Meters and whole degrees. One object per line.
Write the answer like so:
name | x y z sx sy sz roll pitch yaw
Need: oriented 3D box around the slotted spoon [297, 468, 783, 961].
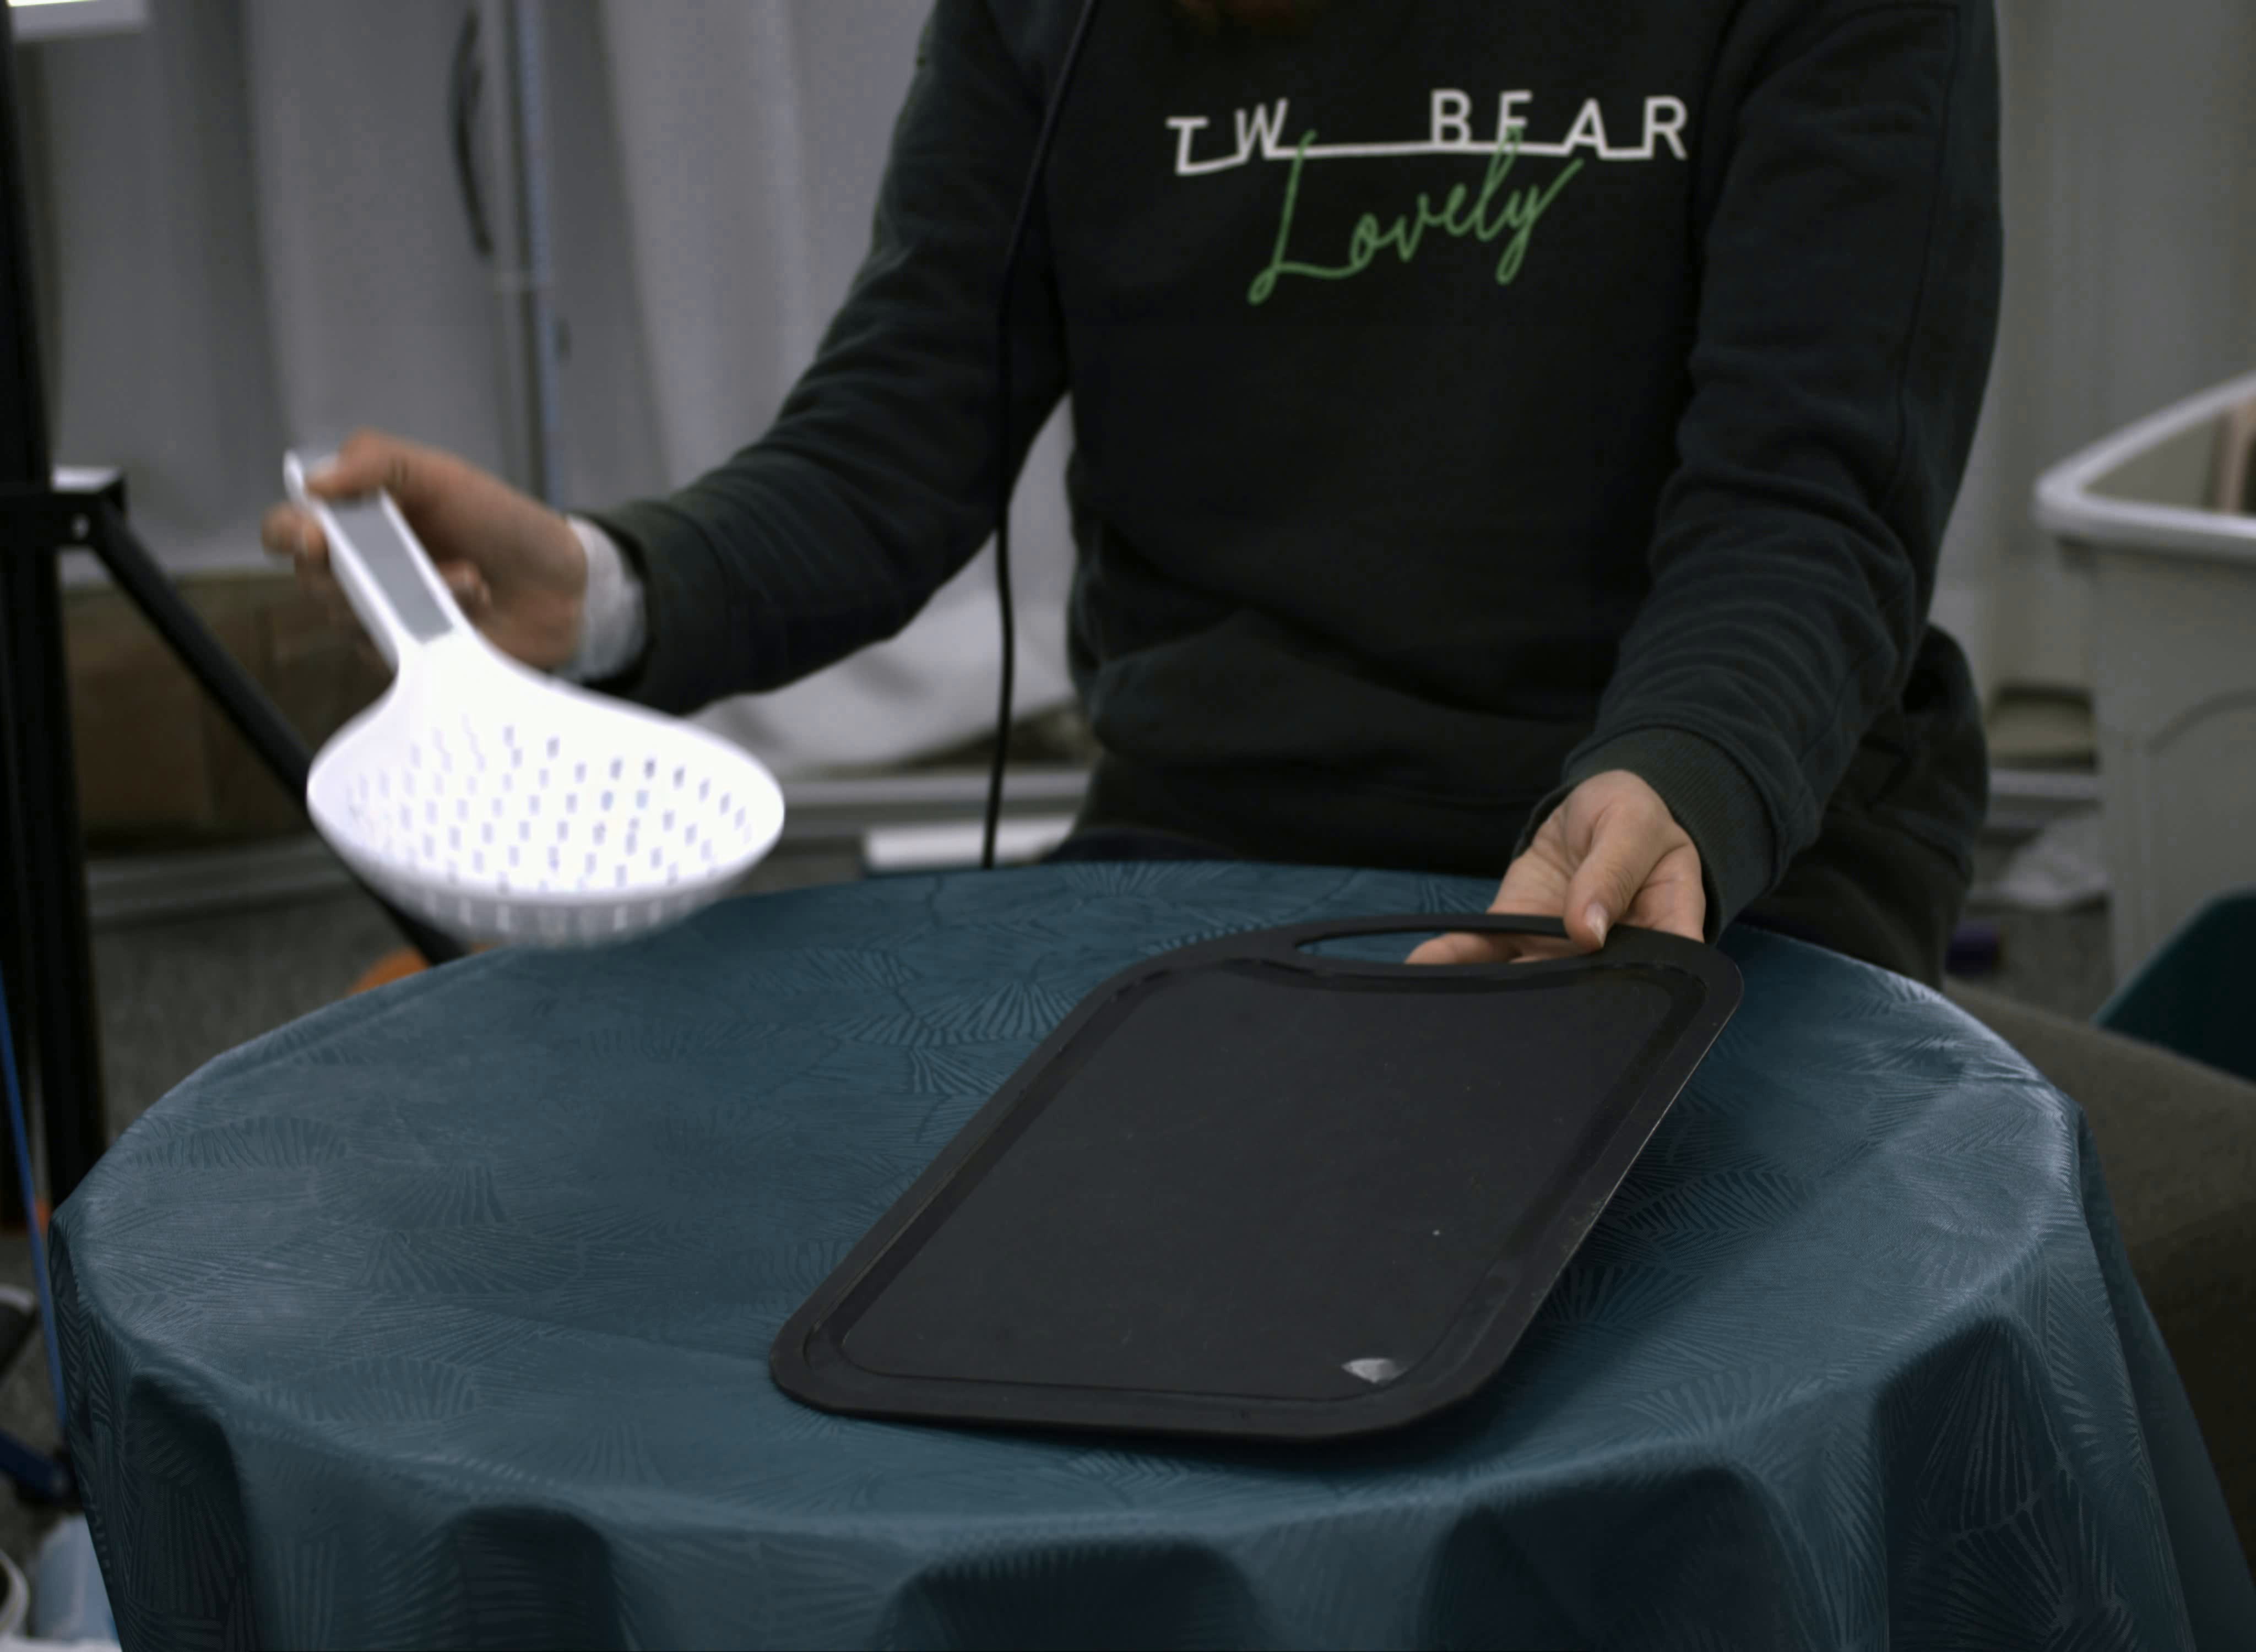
slotted spoon | -0.205 -0.041 1.624 0.133 0.046 0.356 -4 29 -20

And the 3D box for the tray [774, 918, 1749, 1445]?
tray | 0.046 0.091 1.500 0.214 0.010 0.322 0 23 25
